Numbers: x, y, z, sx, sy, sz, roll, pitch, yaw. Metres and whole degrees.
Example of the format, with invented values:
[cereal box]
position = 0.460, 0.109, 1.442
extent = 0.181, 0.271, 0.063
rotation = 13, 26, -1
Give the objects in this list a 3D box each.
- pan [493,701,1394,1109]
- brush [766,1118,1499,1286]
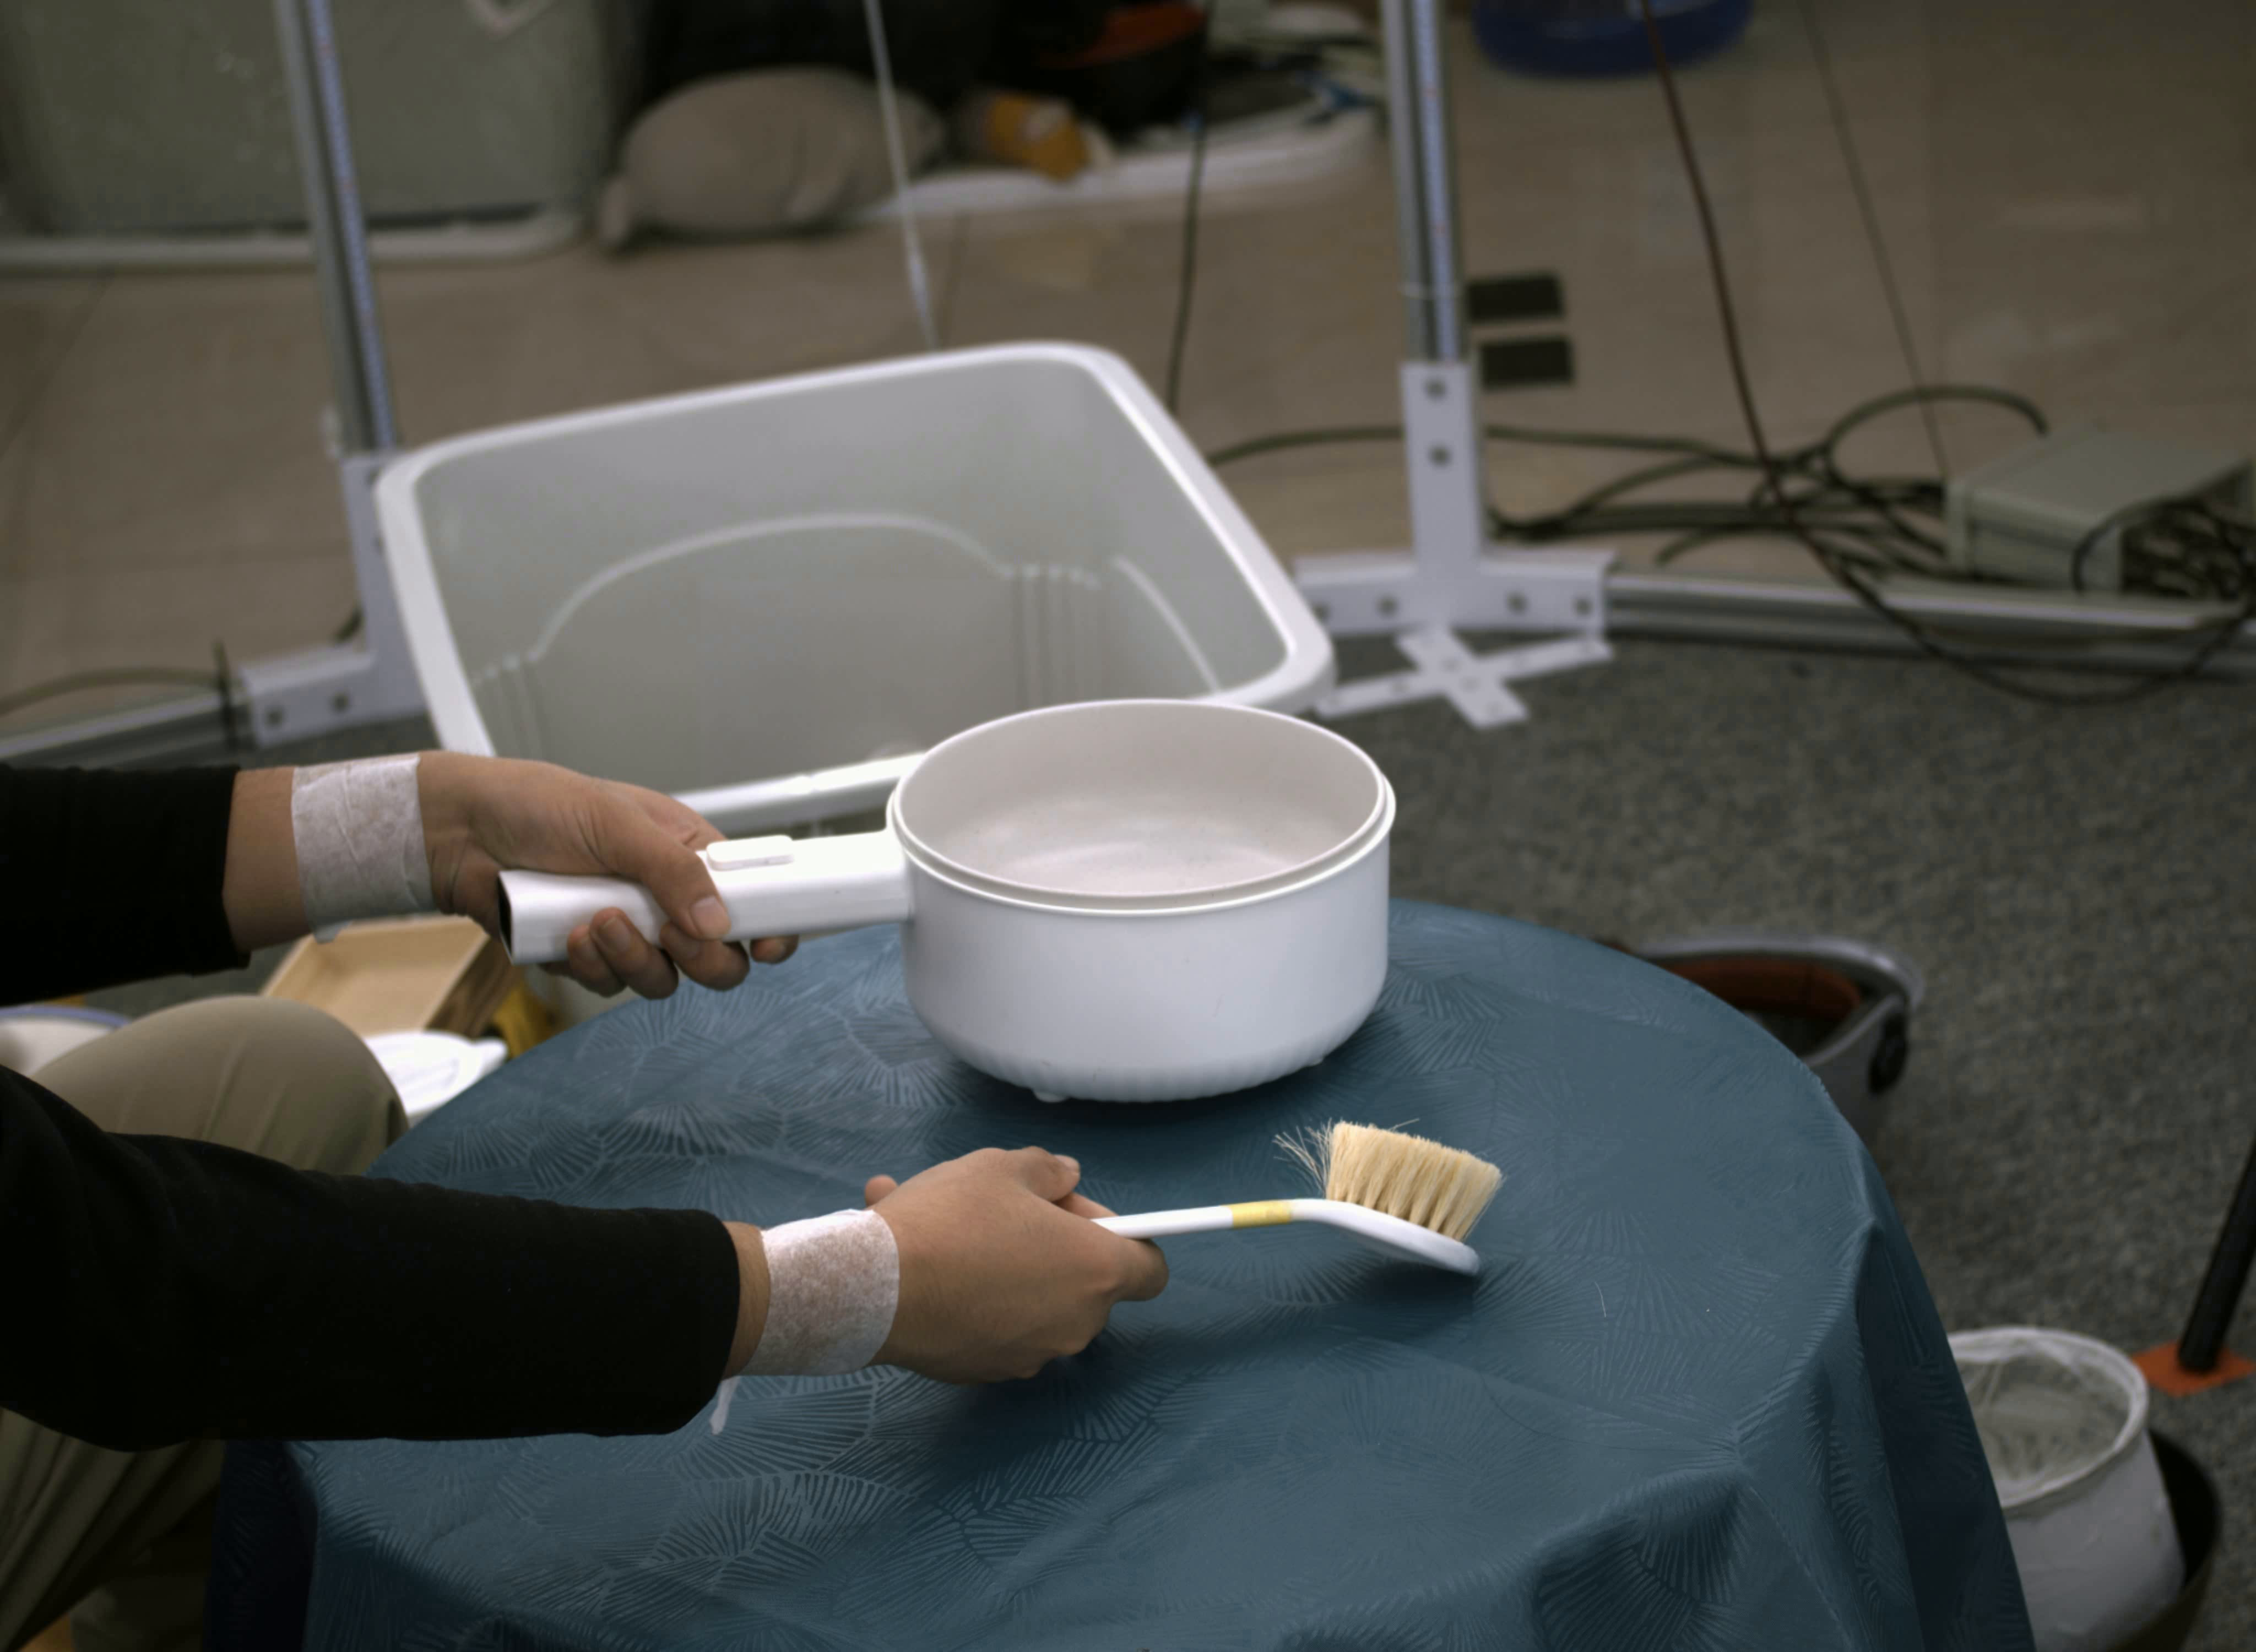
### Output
[pan]
position = -0.069, 0.044, 2.227
extent = 0.354, 0.104, 0.198
rotation = -8, 26, -12
[brush]
position = 0.003, 0.134, 2.023
extent = 0.266, 0.056, 0.069
rotation = 0, -5, -10
